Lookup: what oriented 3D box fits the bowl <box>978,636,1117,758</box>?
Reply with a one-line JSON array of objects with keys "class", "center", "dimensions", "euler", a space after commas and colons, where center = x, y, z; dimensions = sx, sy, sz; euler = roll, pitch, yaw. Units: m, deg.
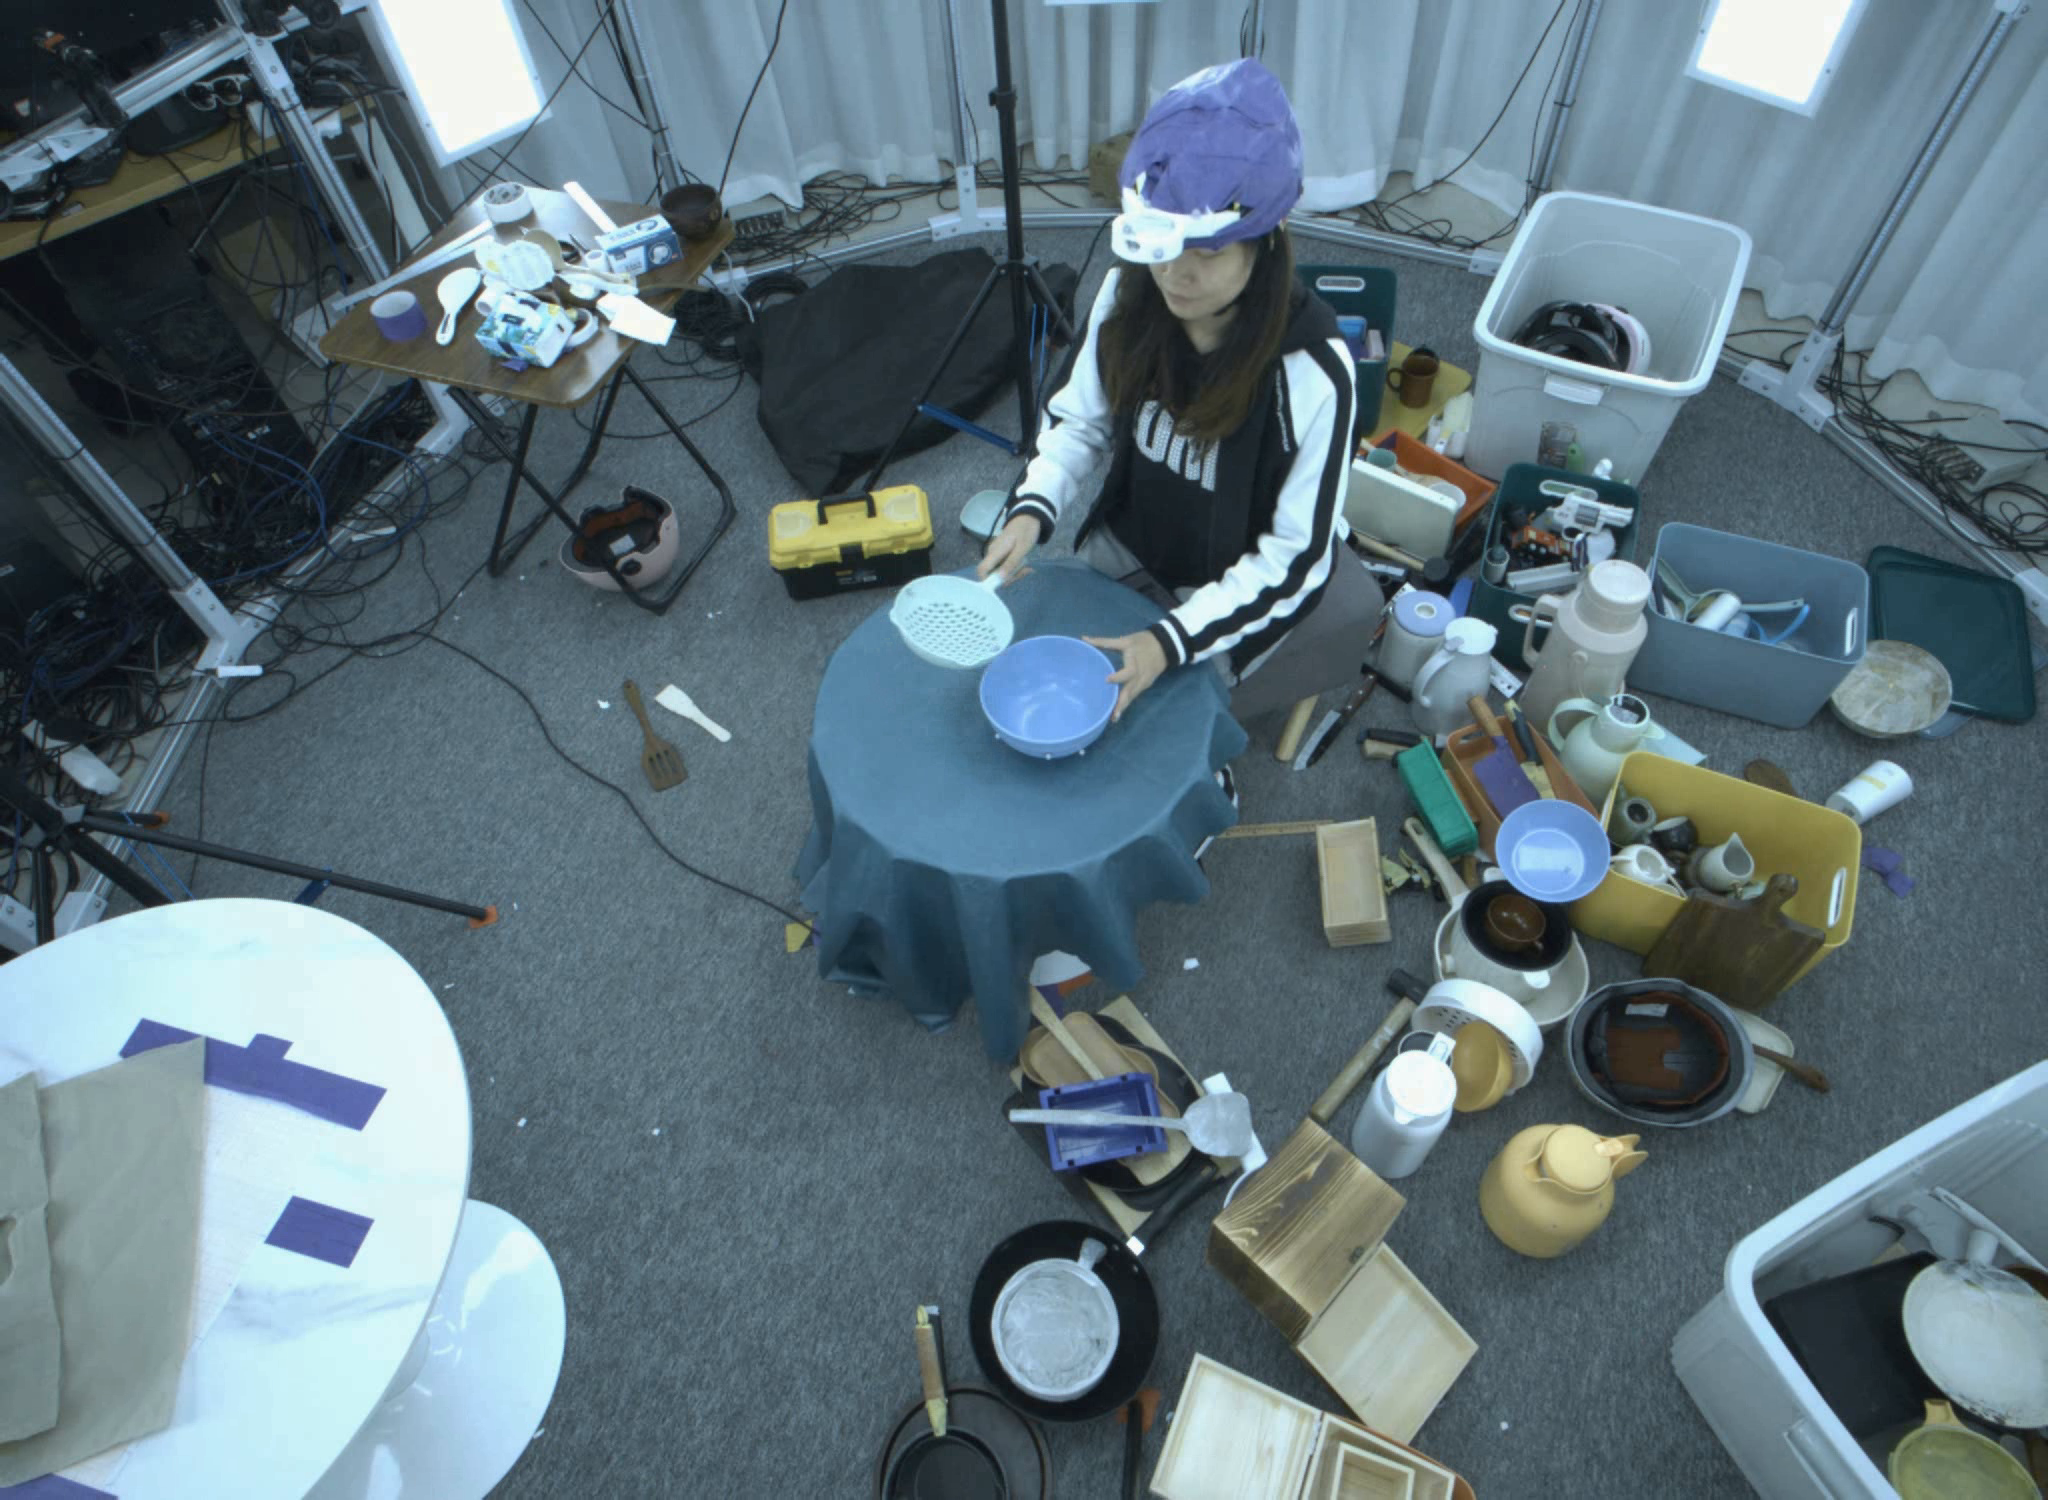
[{"class": "bowl", "center": [0.036, -0.061, 1.772], "dimensions": [0.196, 0.096, 0.194], "euler": [-1, 54, 2]}]

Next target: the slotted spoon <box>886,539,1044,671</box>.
[{"class": "slotted spoon", "center": [-0.060, -0.231, 1.787], "dimensions": [0.168, 0.075, 0.360], "euler": [33, 54, 7]}]
